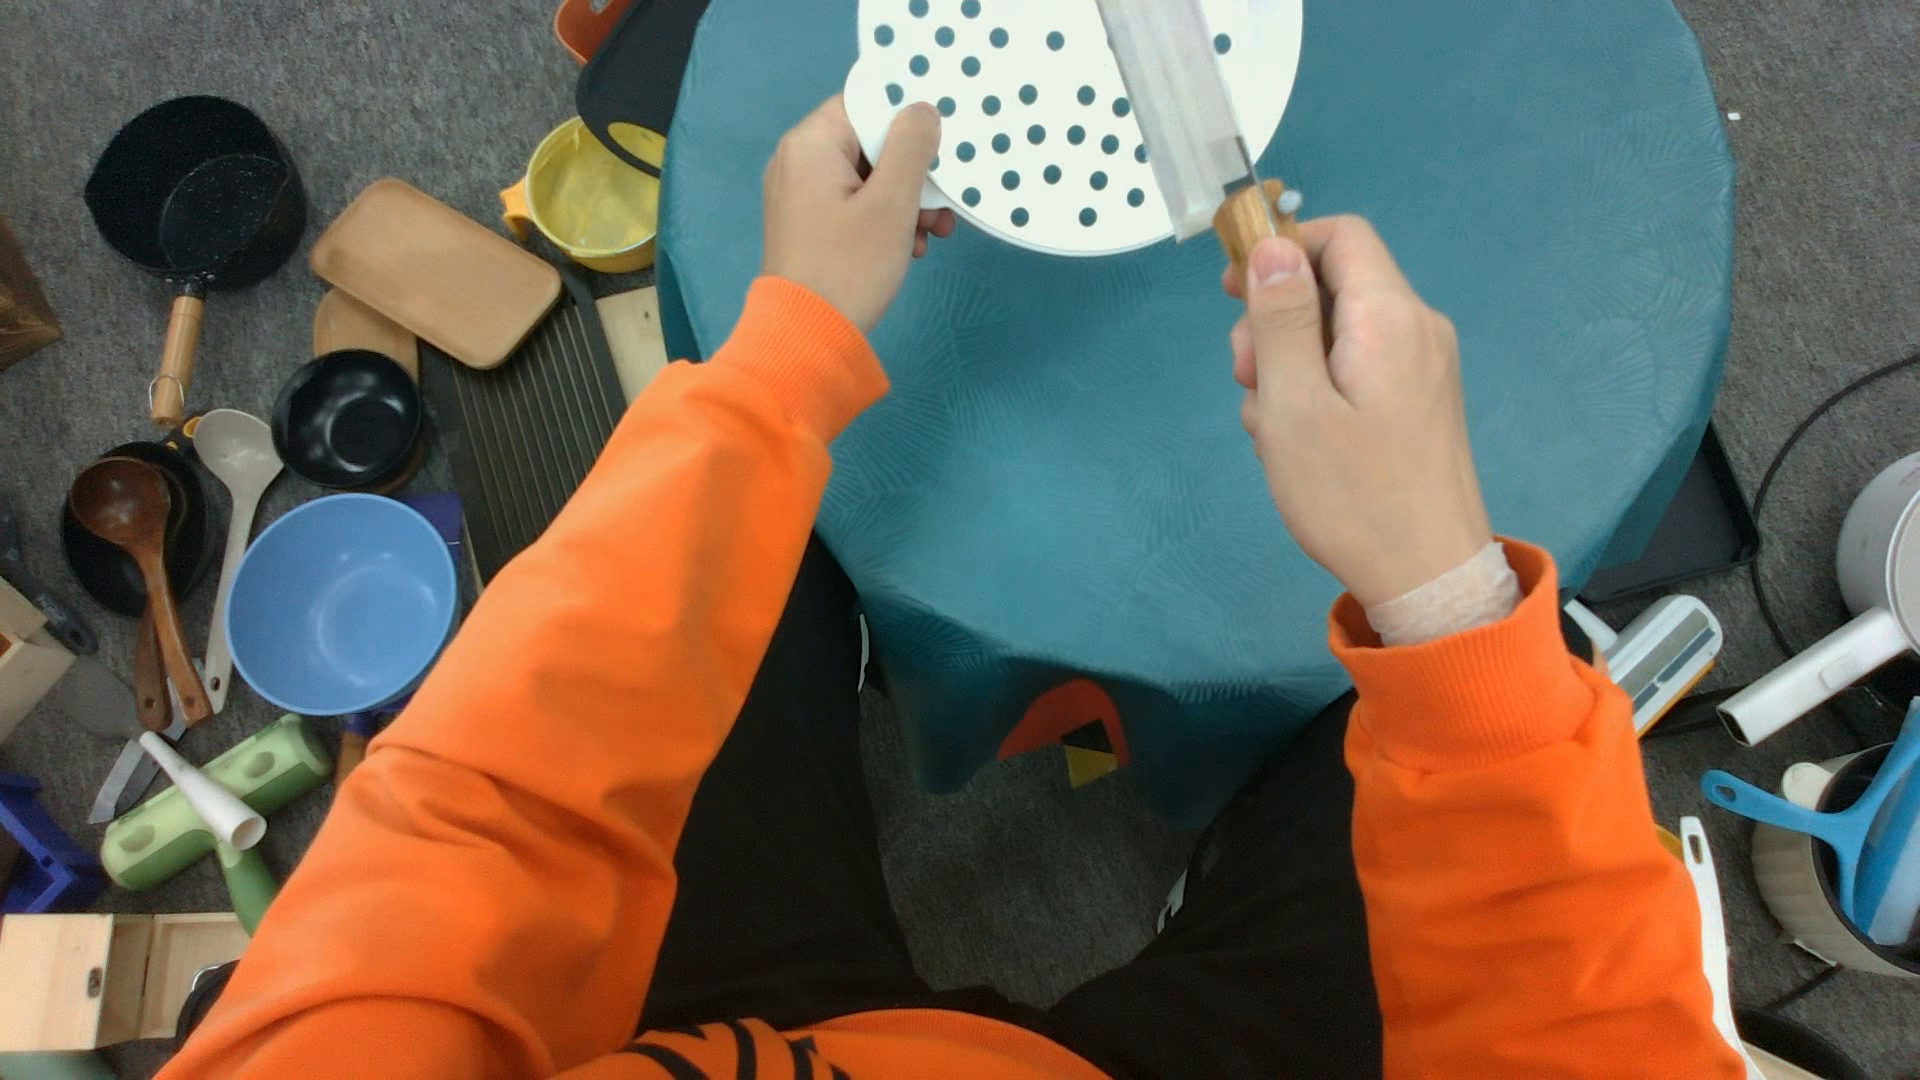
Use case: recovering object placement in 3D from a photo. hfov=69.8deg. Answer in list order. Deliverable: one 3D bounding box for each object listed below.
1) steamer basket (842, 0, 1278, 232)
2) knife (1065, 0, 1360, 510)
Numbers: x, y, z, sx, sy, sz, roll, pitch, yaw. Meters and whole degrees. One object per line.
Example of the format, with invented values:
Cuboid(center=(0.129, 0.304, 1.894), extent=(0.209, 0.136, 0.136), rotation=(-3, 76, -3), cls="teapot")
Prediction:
Cuboid(center=(0.046, -0.247, 0.650), extent=(0.231, 0.069, 0.201), rotation=(-34, 106, -7), cls="steamer basket")
Cuboid(center=(0.074, -0.154, 0.510), extent=(0.021, 0.093, 0.305), rotation=(-23, 97, -8), cls="knife")
